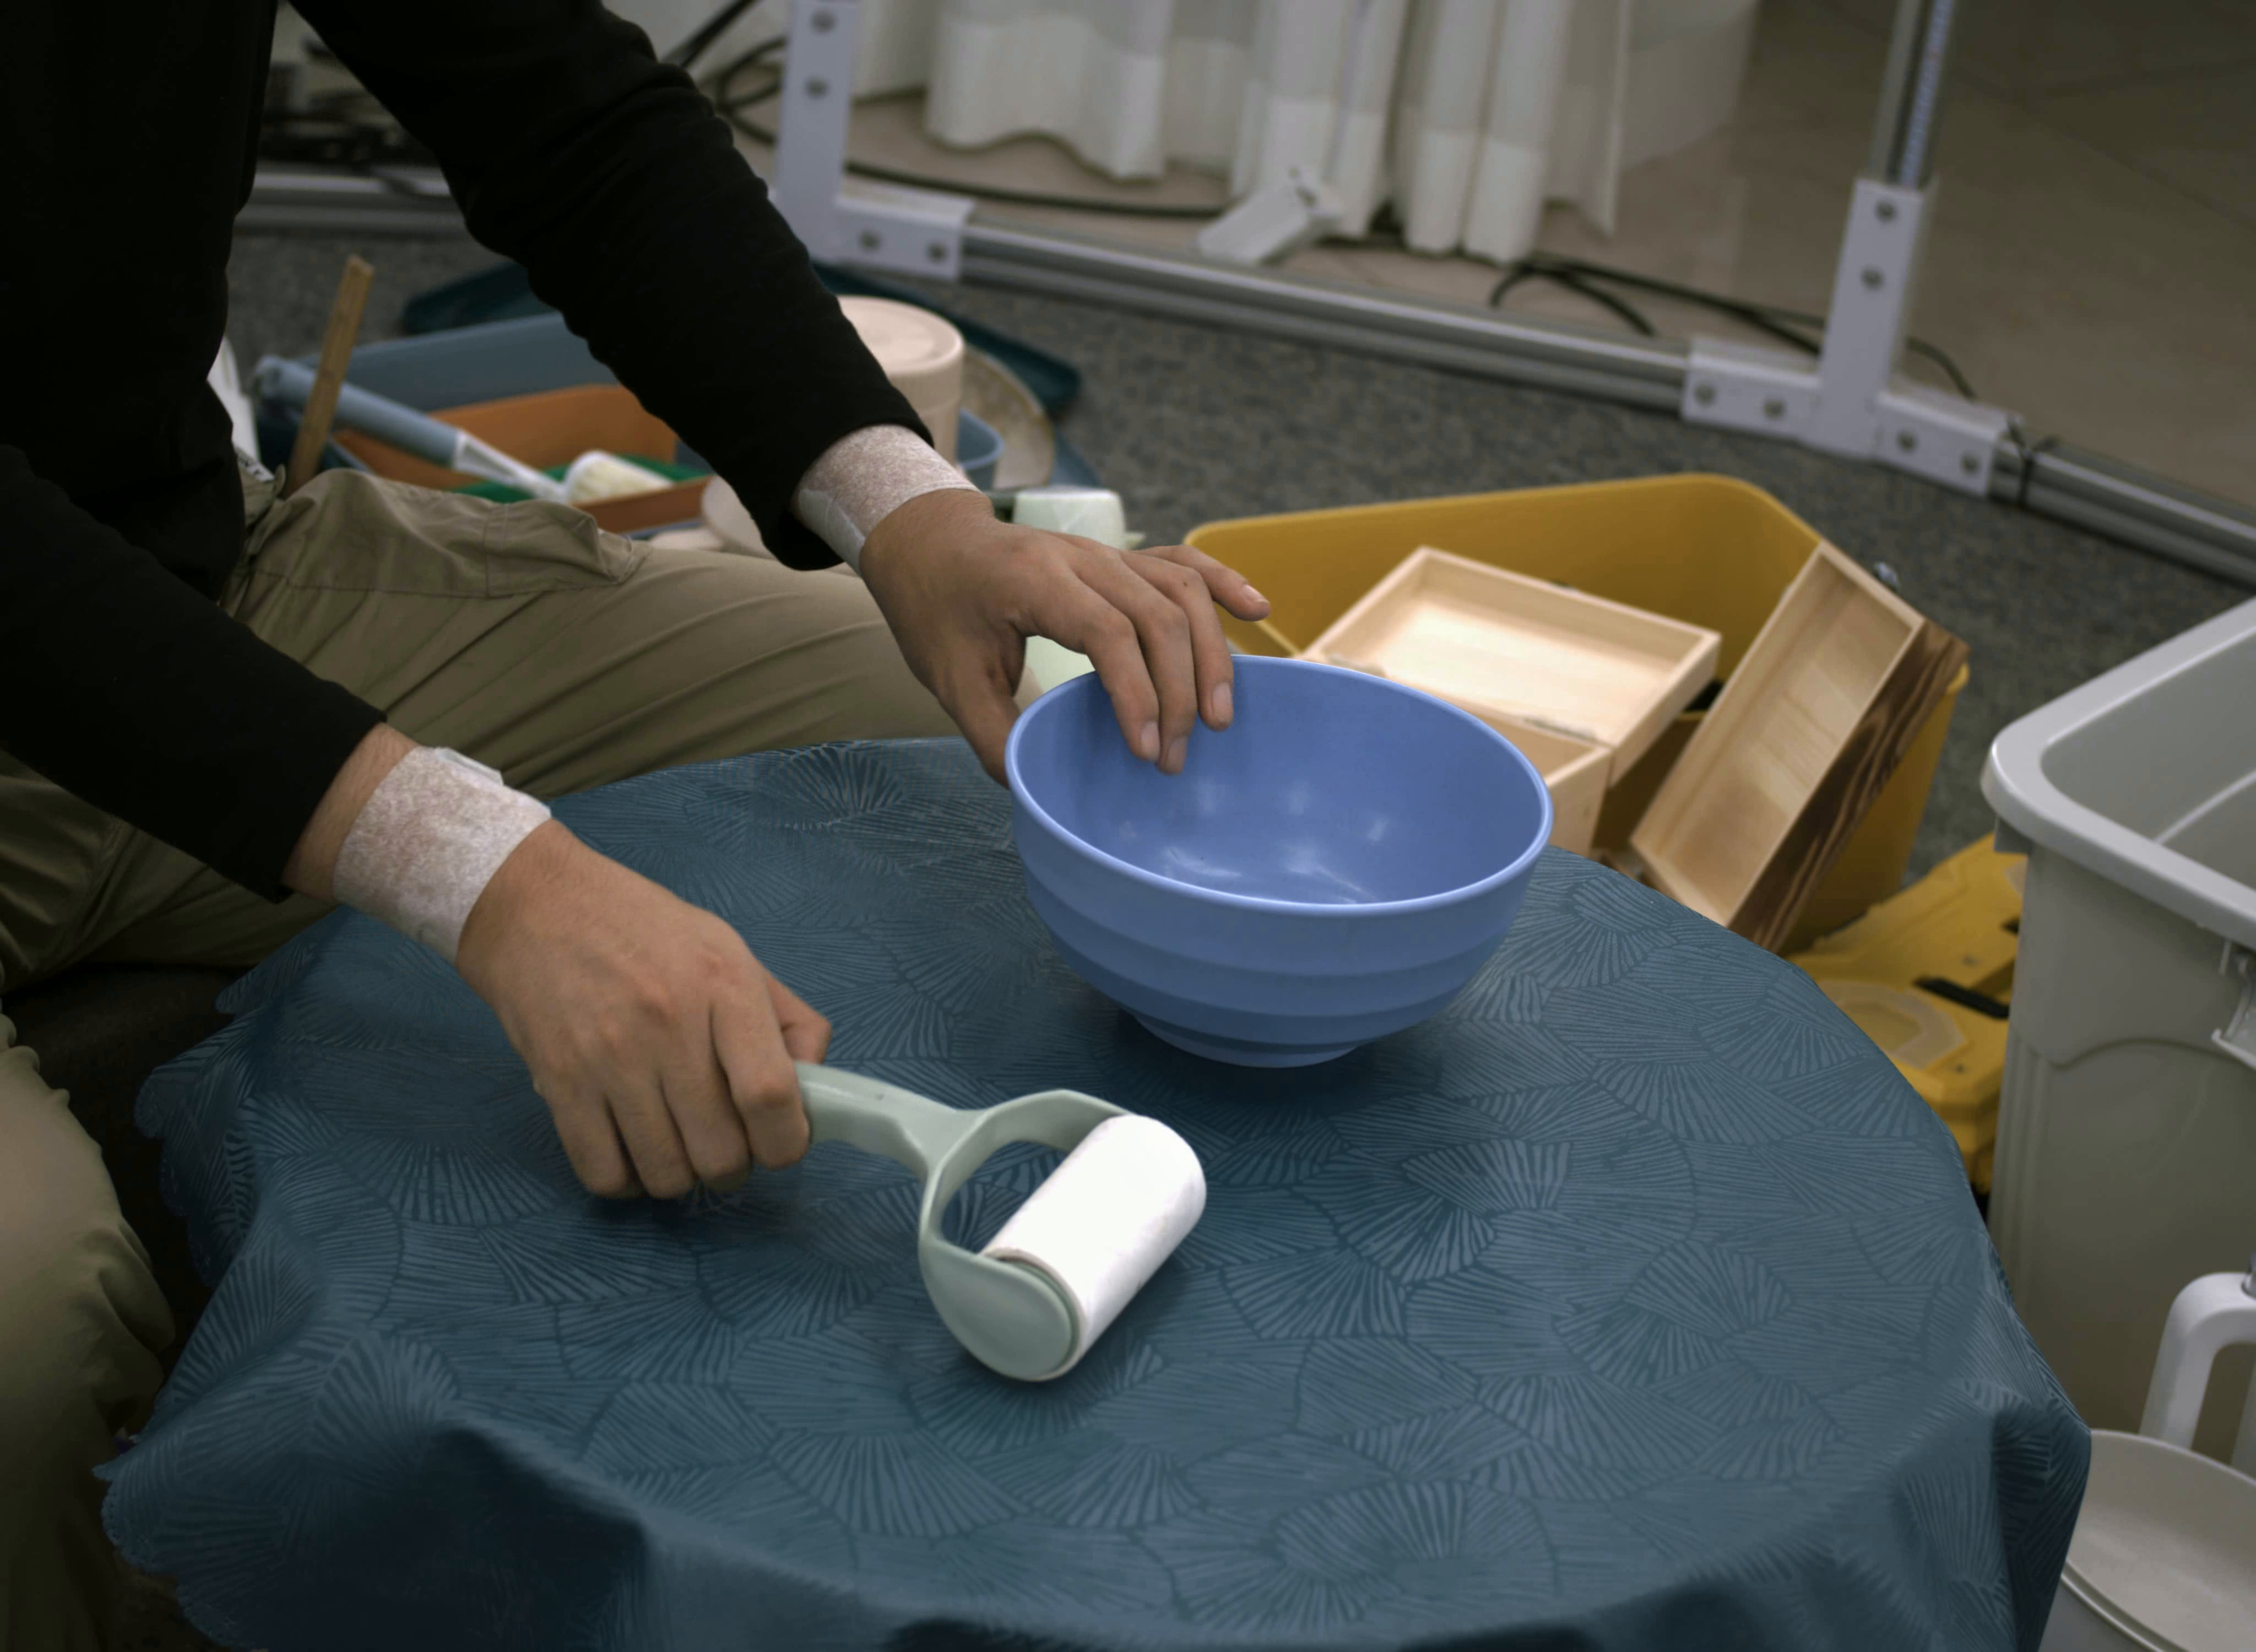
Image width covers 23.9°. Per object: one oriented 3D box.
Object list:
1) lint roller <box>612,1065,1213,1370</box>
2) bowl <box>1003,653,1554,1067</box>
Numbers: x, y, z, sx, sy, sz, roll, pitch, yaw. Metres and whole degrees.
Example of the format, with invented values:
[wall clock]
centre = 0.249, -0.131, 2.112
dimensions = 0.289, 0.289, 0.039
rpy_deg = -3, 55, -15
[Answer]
[lint roller]
centre = -0.077, 0.108, 1.748
dimensions = 0.198, 0.048, 0.116
rpy_deg = 21, 31, 16
[bowl]
centre = 0.049, 0.023, 1.905
dimensions = 0.196, 0.095, 0.198
rpy_deg = 4, 28, -3
